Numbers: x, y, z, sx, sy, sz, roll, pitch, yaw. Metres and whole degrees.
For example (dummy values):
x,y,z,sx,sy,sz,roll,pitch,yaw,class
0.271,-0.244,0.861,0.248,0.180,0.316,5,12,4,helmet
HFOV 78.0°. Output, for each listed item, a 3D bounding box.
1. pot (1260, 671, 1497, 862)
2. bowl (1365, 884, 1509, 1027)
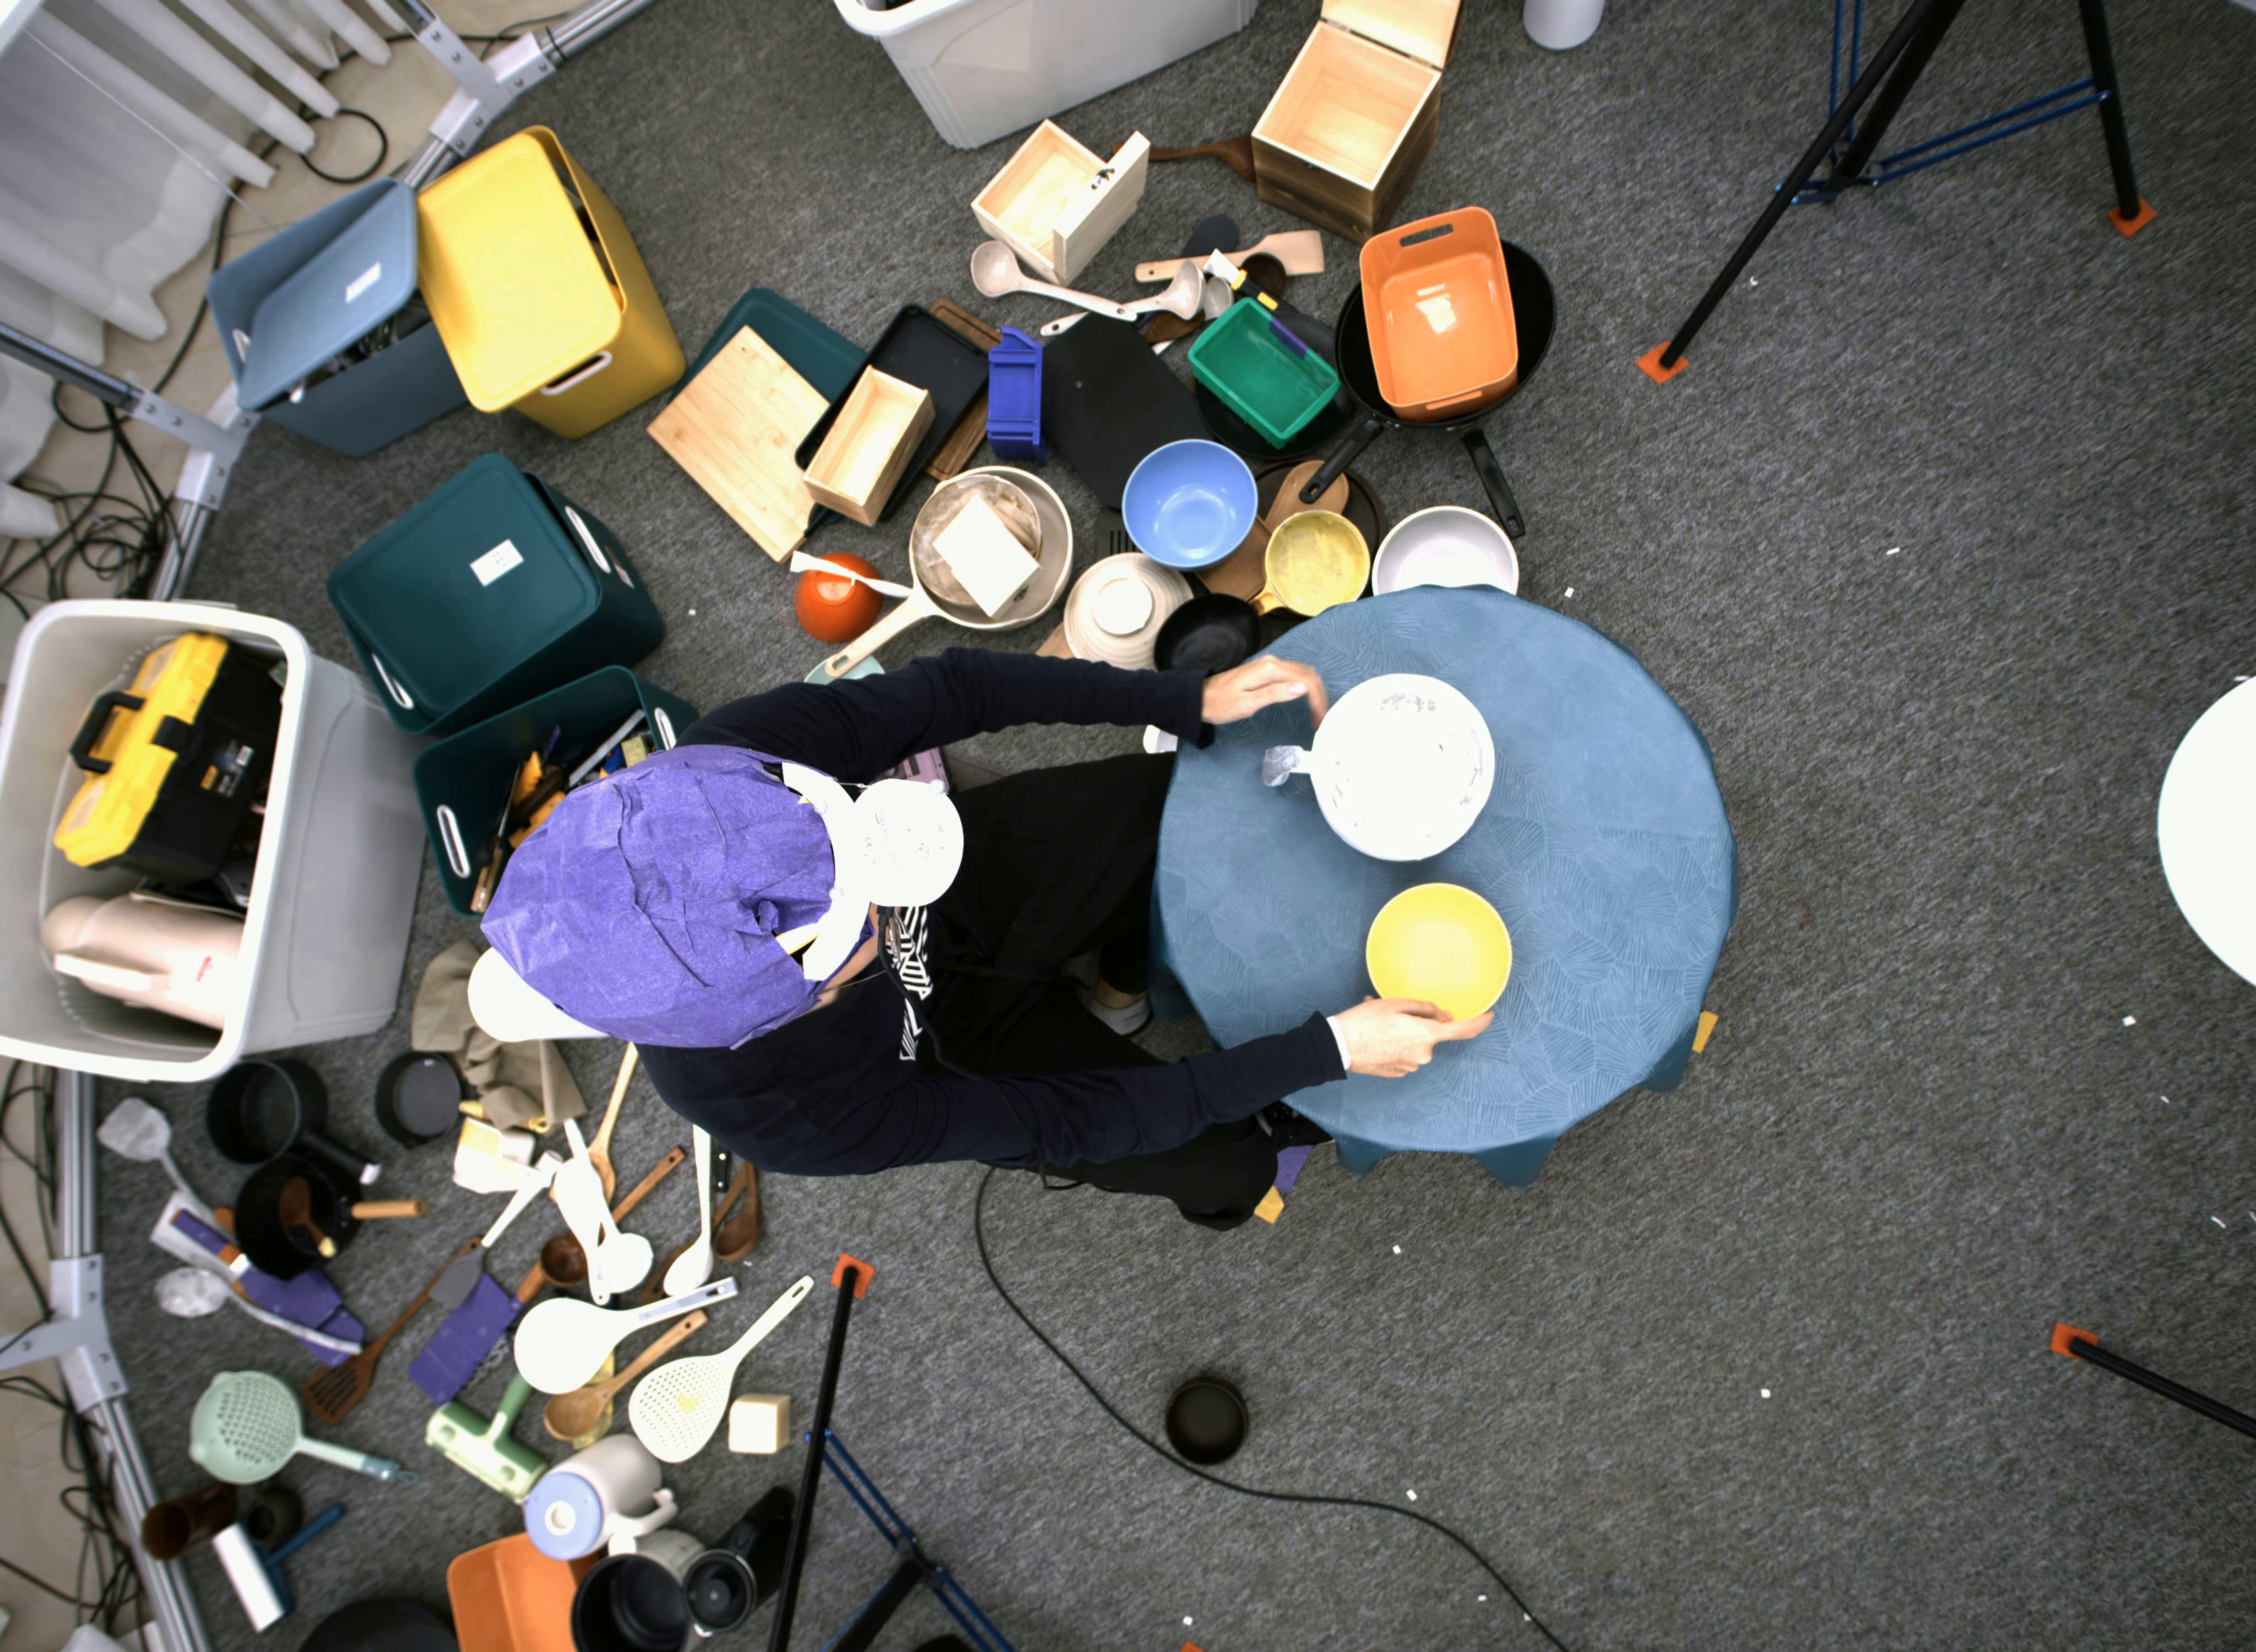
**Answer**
x,y,z,sx,sy,sz,roll,pitch,yaw,class
0.250,-0.058,1.401,0.234,0.137,0.177,3,84,10,pot
0.316,0.133,1.416,0.146,0.060,0.144,-1,84,11,bowl
